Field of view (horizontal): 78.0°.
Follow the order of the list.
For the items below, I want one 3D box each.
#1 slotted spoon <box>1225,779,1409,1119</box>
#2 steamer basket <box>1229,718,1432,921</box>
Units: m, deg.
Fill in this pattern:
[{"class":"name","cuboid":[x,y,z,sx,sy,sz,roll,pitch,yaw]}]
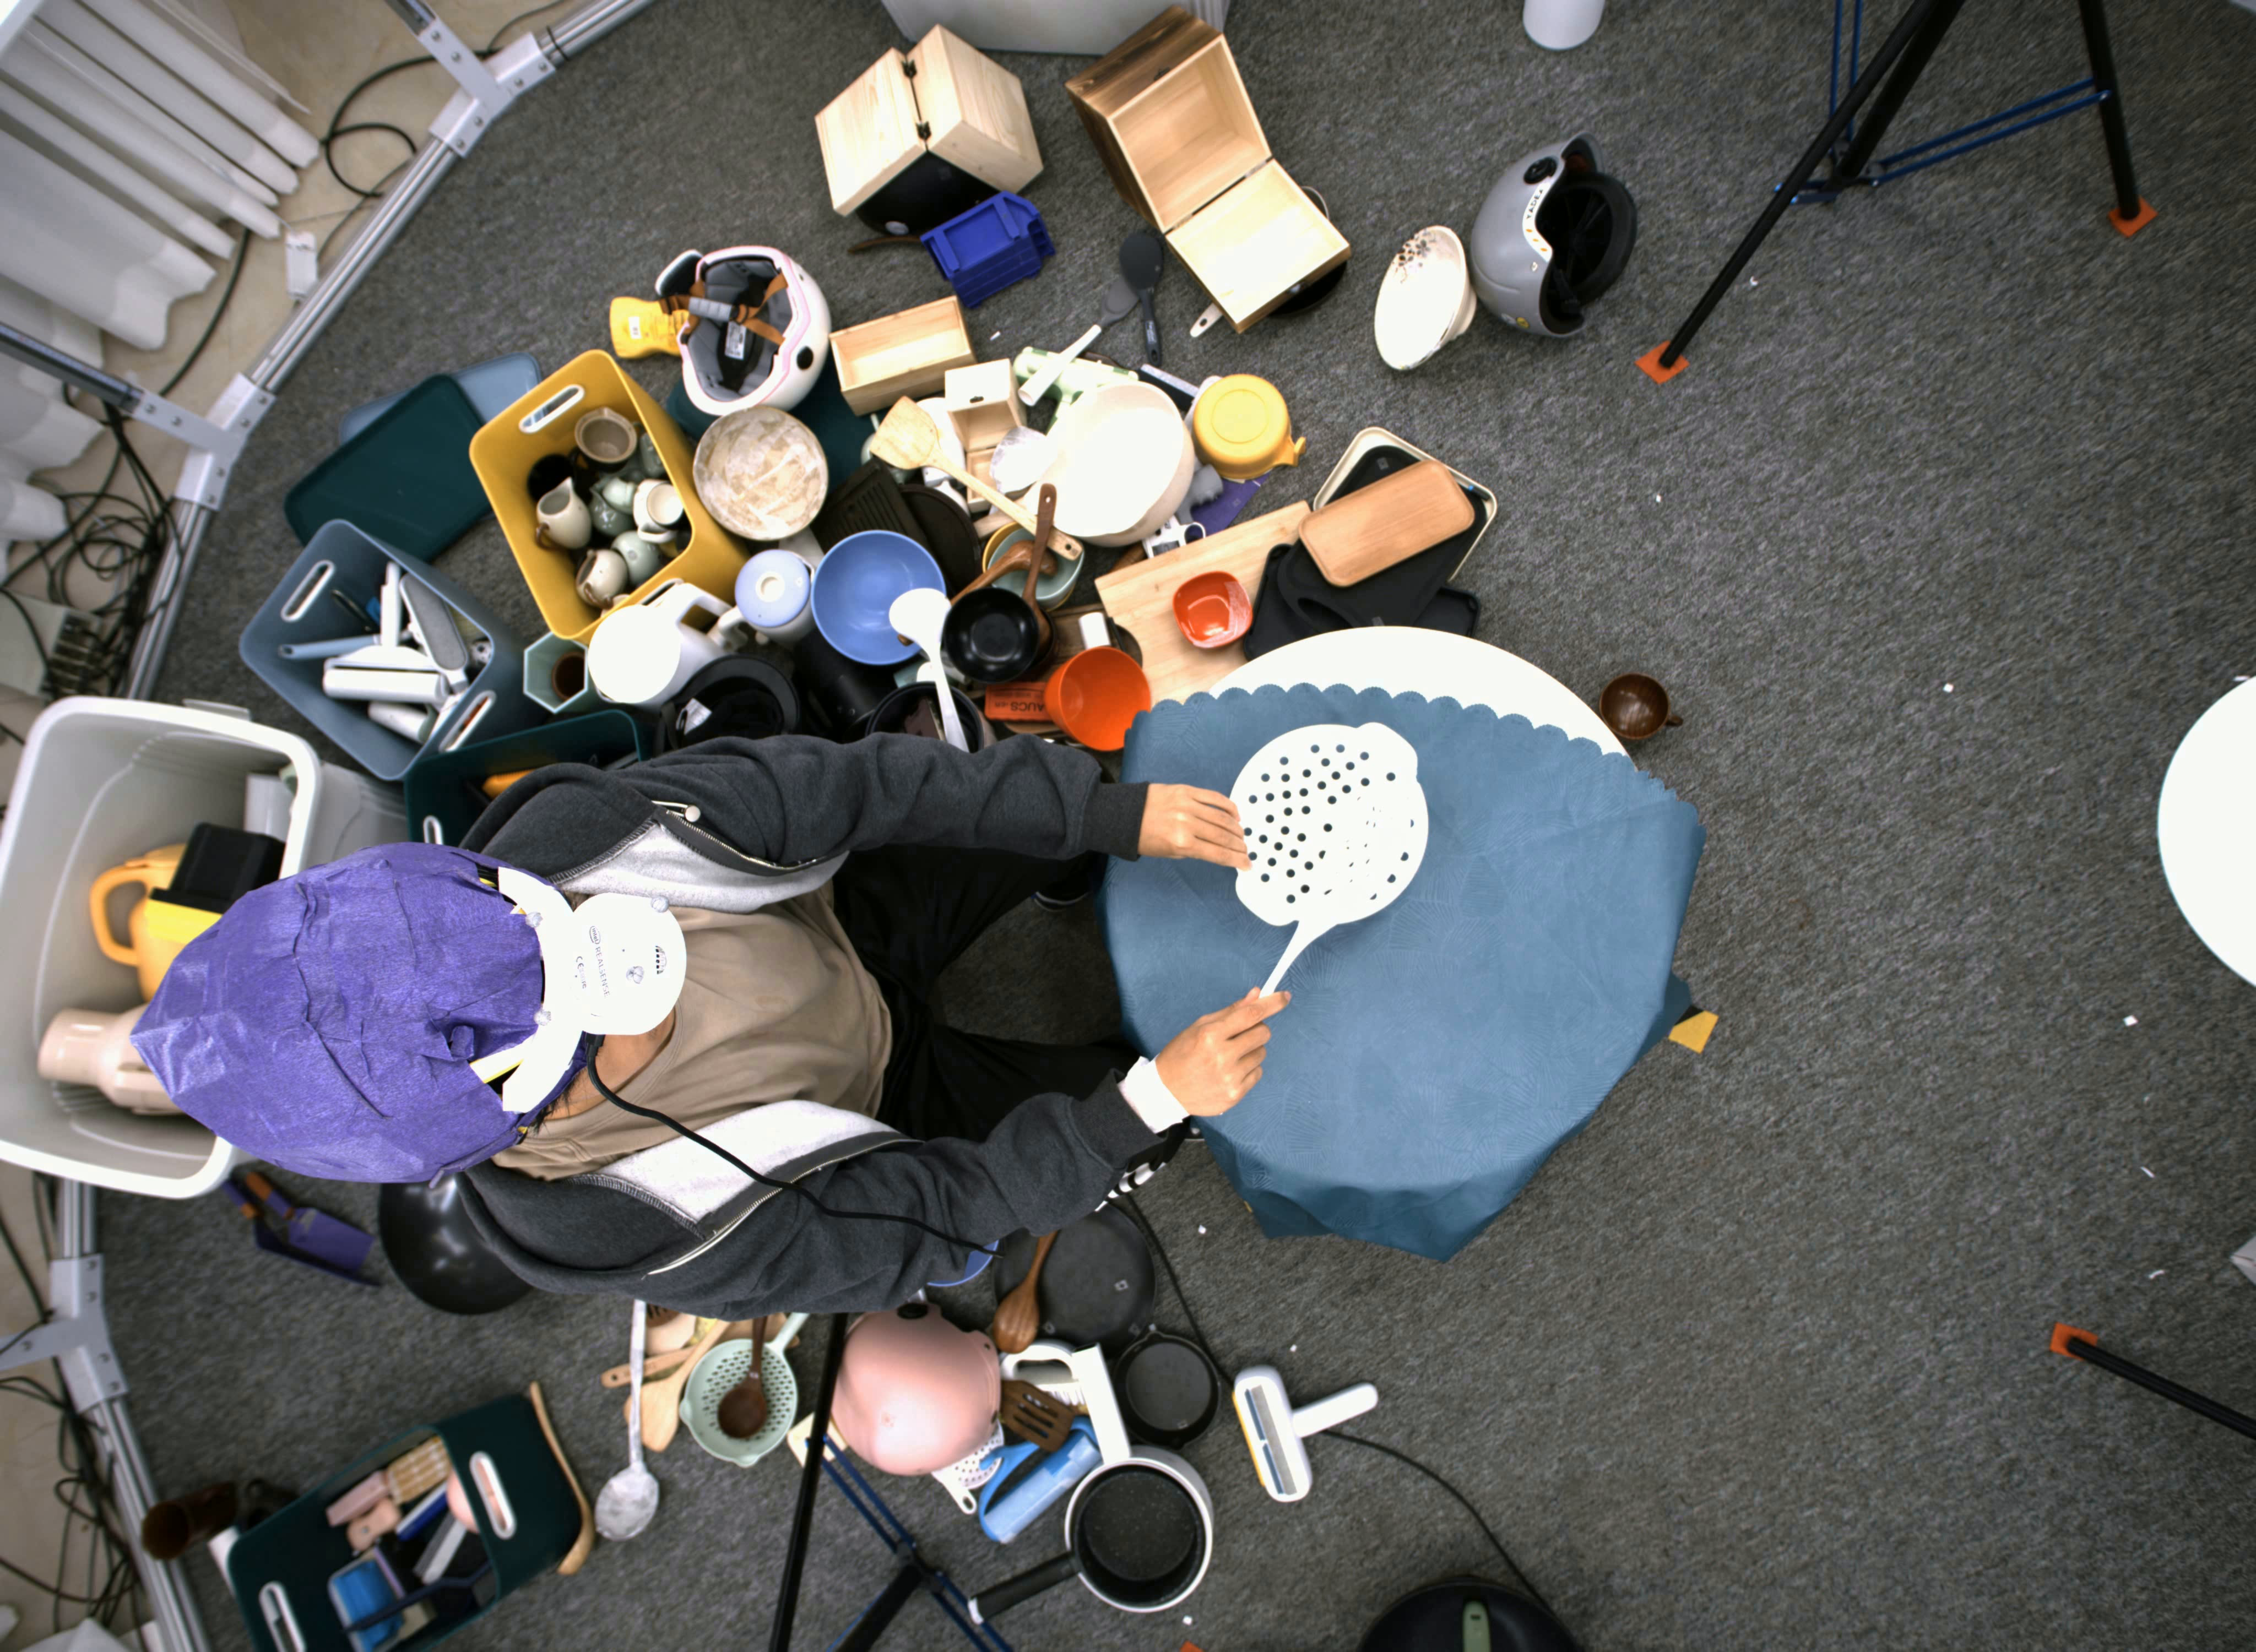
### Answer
[{"class":"slotted spoon","cuboid":[0.167,0.113,1.288,0.050,0.136,0.348,32,93,-16]},{"class":"steamer basket","cuboid":[0.206,-0.005,1.409,0.201,0.069,0.231,39,94,9]}]
